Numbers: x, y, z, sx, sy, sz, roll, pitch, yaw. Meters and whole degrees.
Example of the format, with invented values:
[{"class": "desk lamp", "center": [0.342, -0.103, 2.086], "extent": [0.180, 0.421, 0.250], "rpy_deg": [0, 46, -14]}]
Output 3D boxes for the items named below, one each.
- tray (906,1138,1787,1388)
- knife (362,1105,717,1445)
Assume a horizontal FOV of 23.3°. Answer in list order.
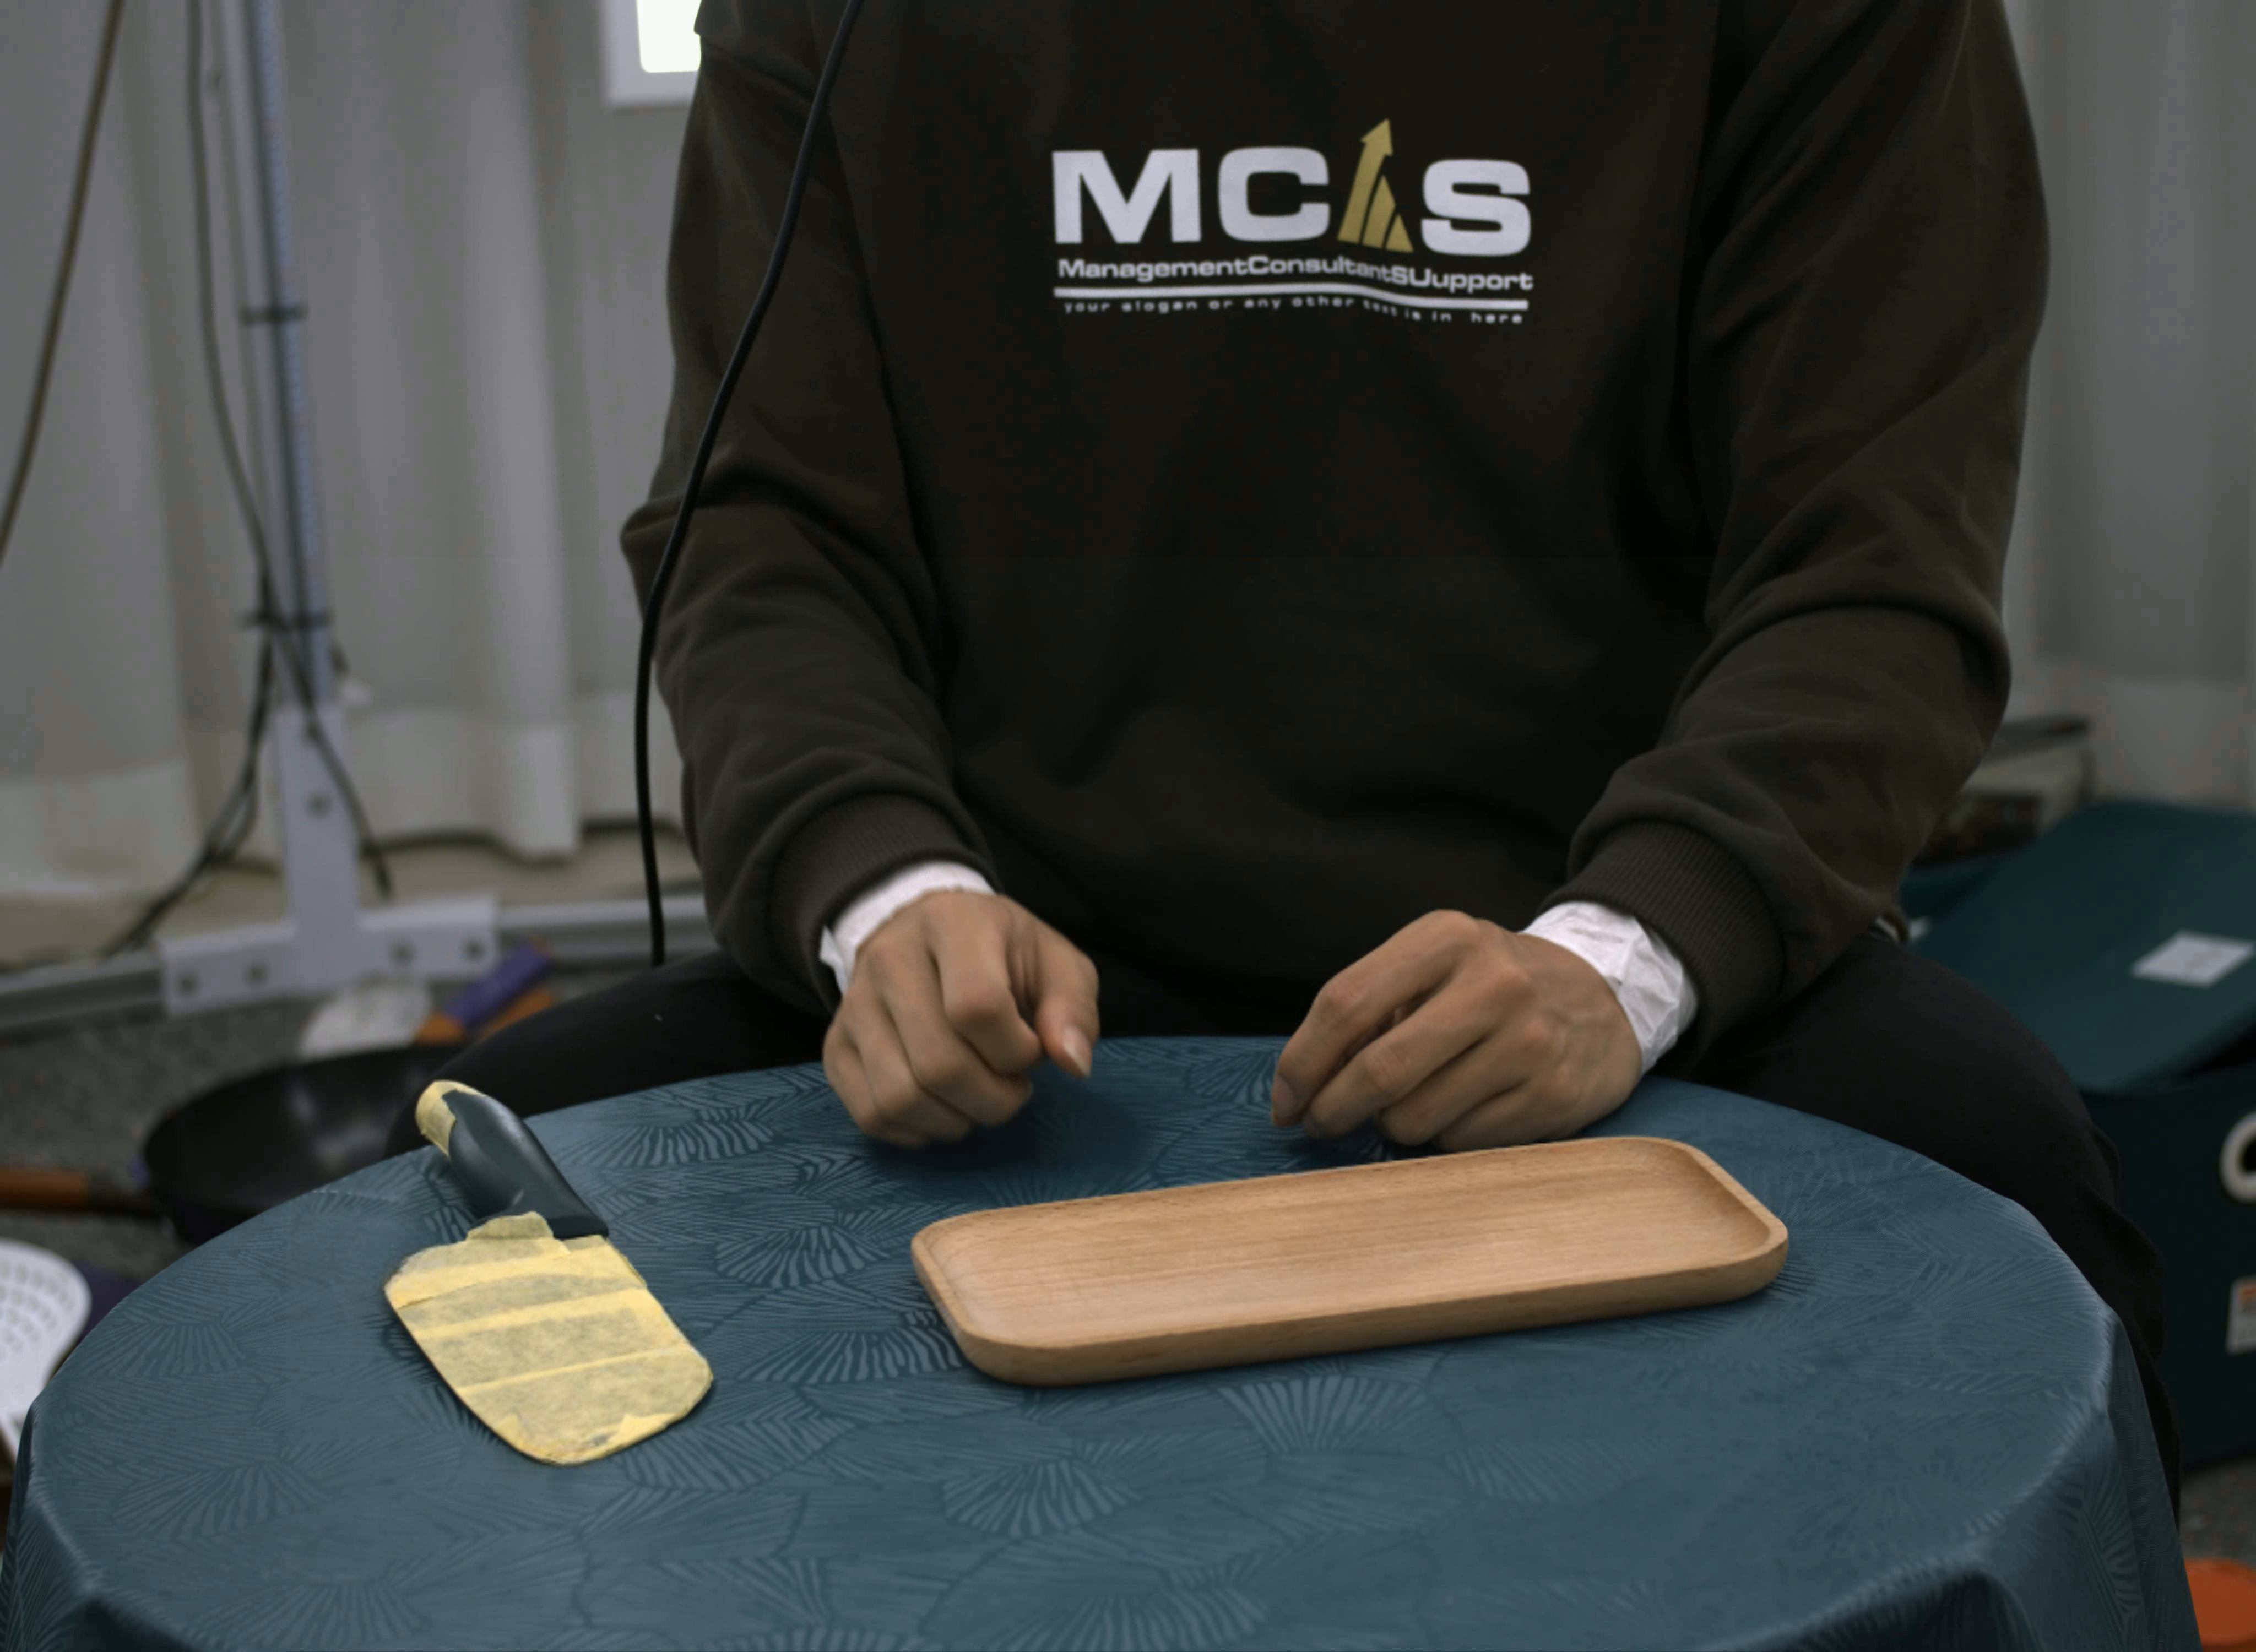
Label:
[{"class": "tray", "center": [0.064, 0.129, 1.621], "extent": [0.249, 0.023, 0.131], "rpy_deg": [-6, 12, -12]}, {"class": "knife", "center": [-0.188, 0.135, 1.646], "extent": [0.080, 0.027, 0.292], "rpy_deg": [-5, 16, -18]}]
